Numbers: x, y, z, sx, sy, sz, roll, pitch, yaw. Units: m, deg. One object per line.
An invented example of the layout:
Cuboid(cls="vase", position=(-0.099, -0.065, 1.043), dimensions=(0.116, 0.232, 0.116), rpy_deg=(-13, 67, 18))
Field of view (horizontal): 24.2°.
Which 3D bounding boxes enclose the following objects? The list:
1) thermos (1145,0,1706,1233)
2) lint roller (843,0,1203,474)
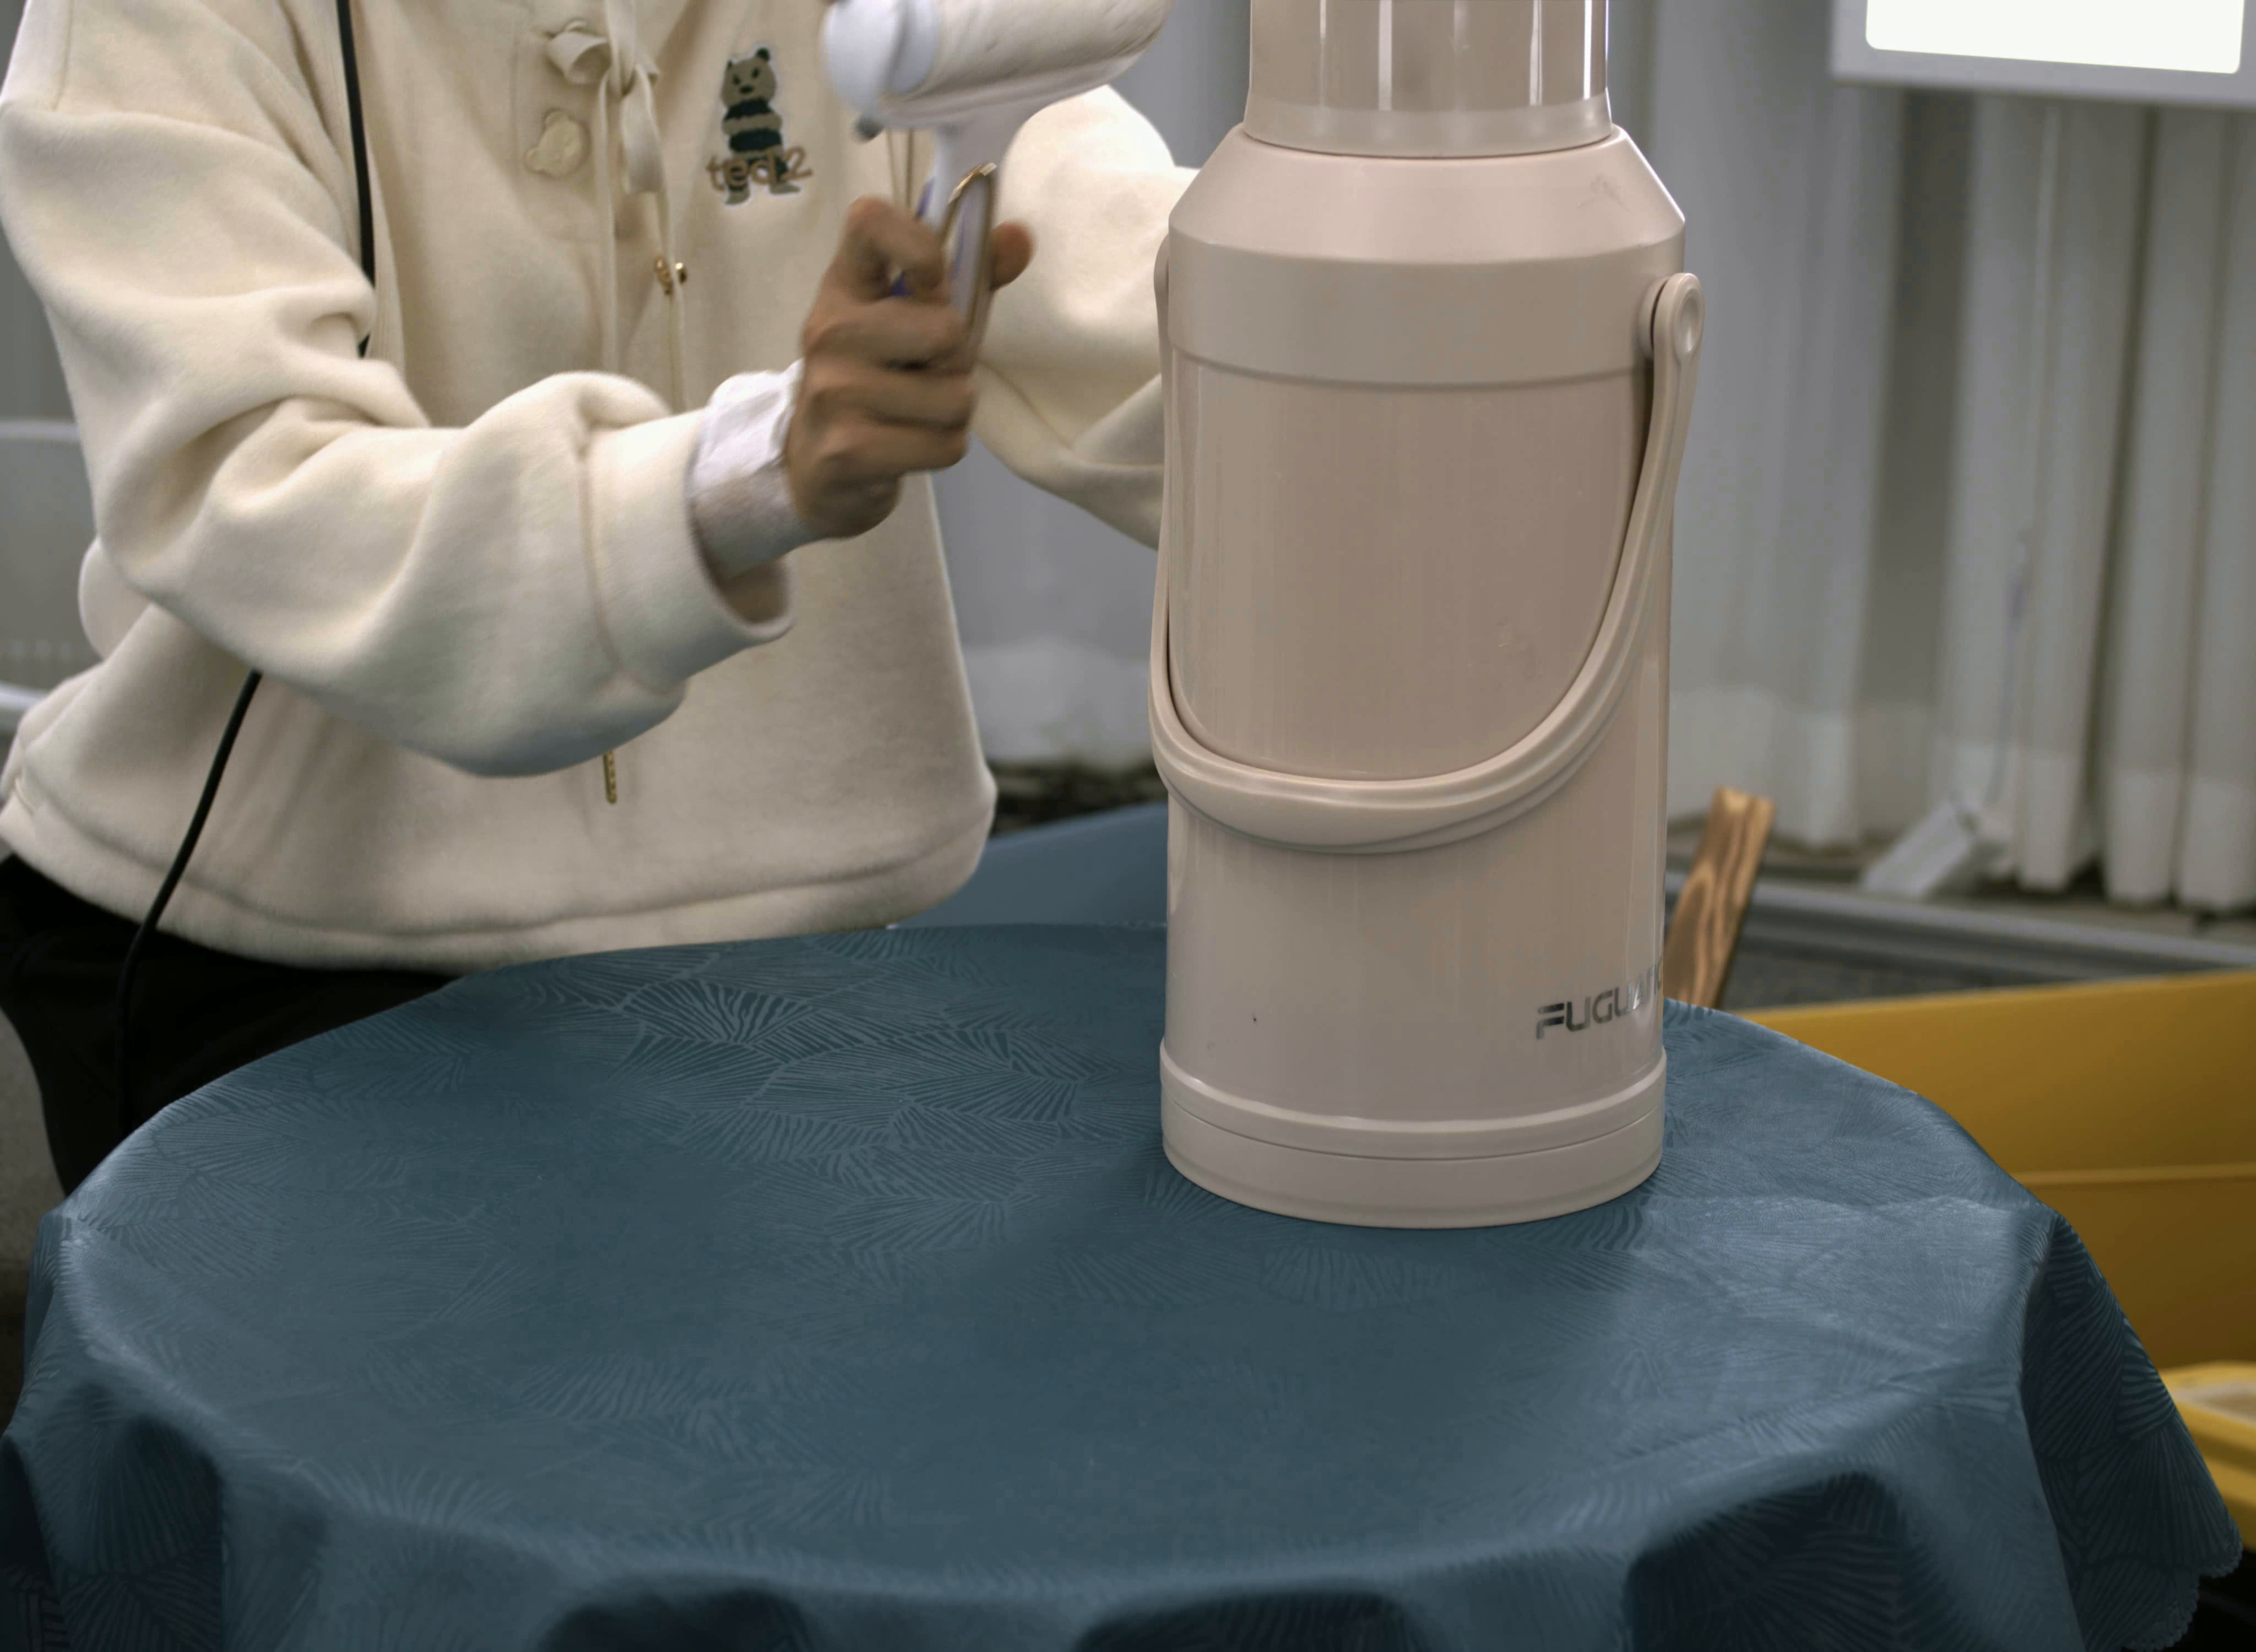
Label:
Cuboid(cls="thermos", position=(0.097, -0.092, 1.619), dimensions=(0.173, 0.409, 0.207), rpy_deg=(9, 18, 28))
Cuboid(cls="lint roller", position=(-0.052, -0.192, 1.638), dimensions=(0.133, 0.182, 0.049), rpy_deg=(-20, 57, -42))
